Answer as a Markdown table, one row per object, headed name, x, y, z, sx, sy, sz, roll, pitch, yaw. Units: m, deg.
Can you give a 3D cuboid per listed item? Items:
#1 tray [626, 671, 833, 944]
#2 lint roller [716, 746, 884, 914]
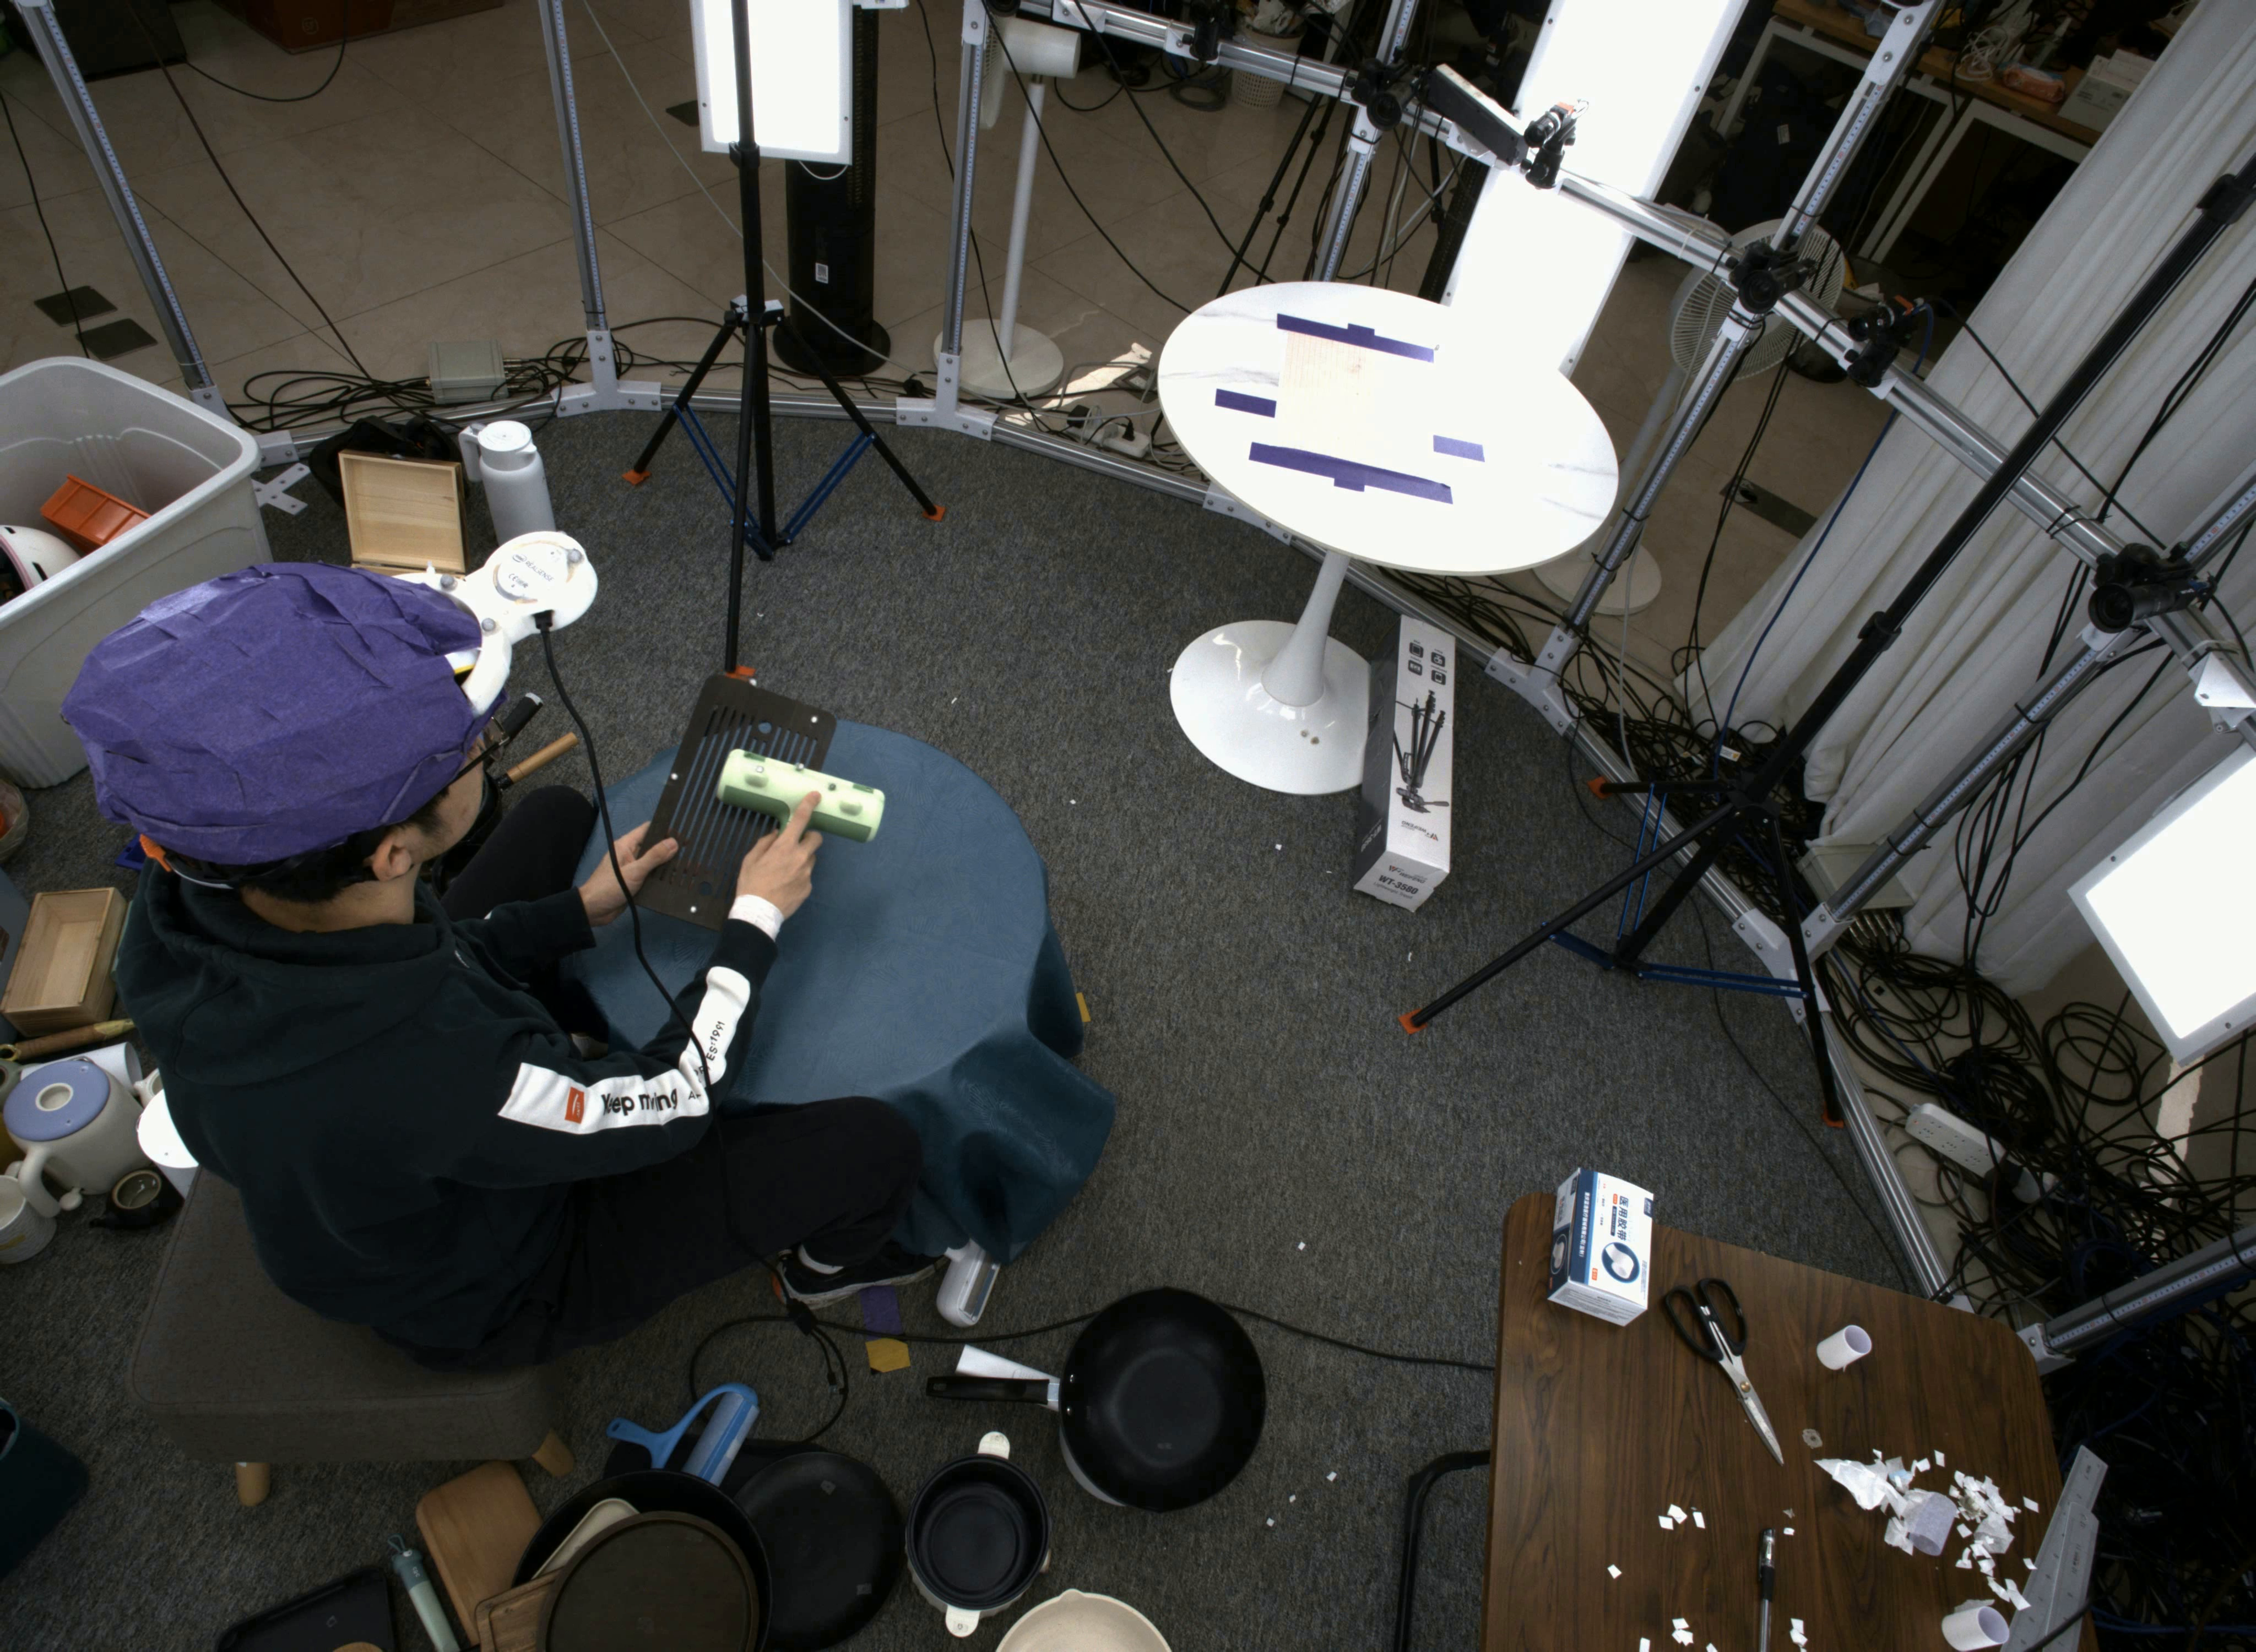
| name | x | y | z | sx | sy | sz | roll | pitch | yaw |
| --- | --- | --- | --- | --- | --- | --- | --- | --- | --- |
| tray | -0.488 | -0.025 | 1.587 | 0.172 | 0.018 | 0.306 | 20 | 75 | -16 |
| lint roller | -0.402 | 0.008 | 1.544 | 0.201 | 0.082 | 0.181 | 18 | 58 | -17 |
